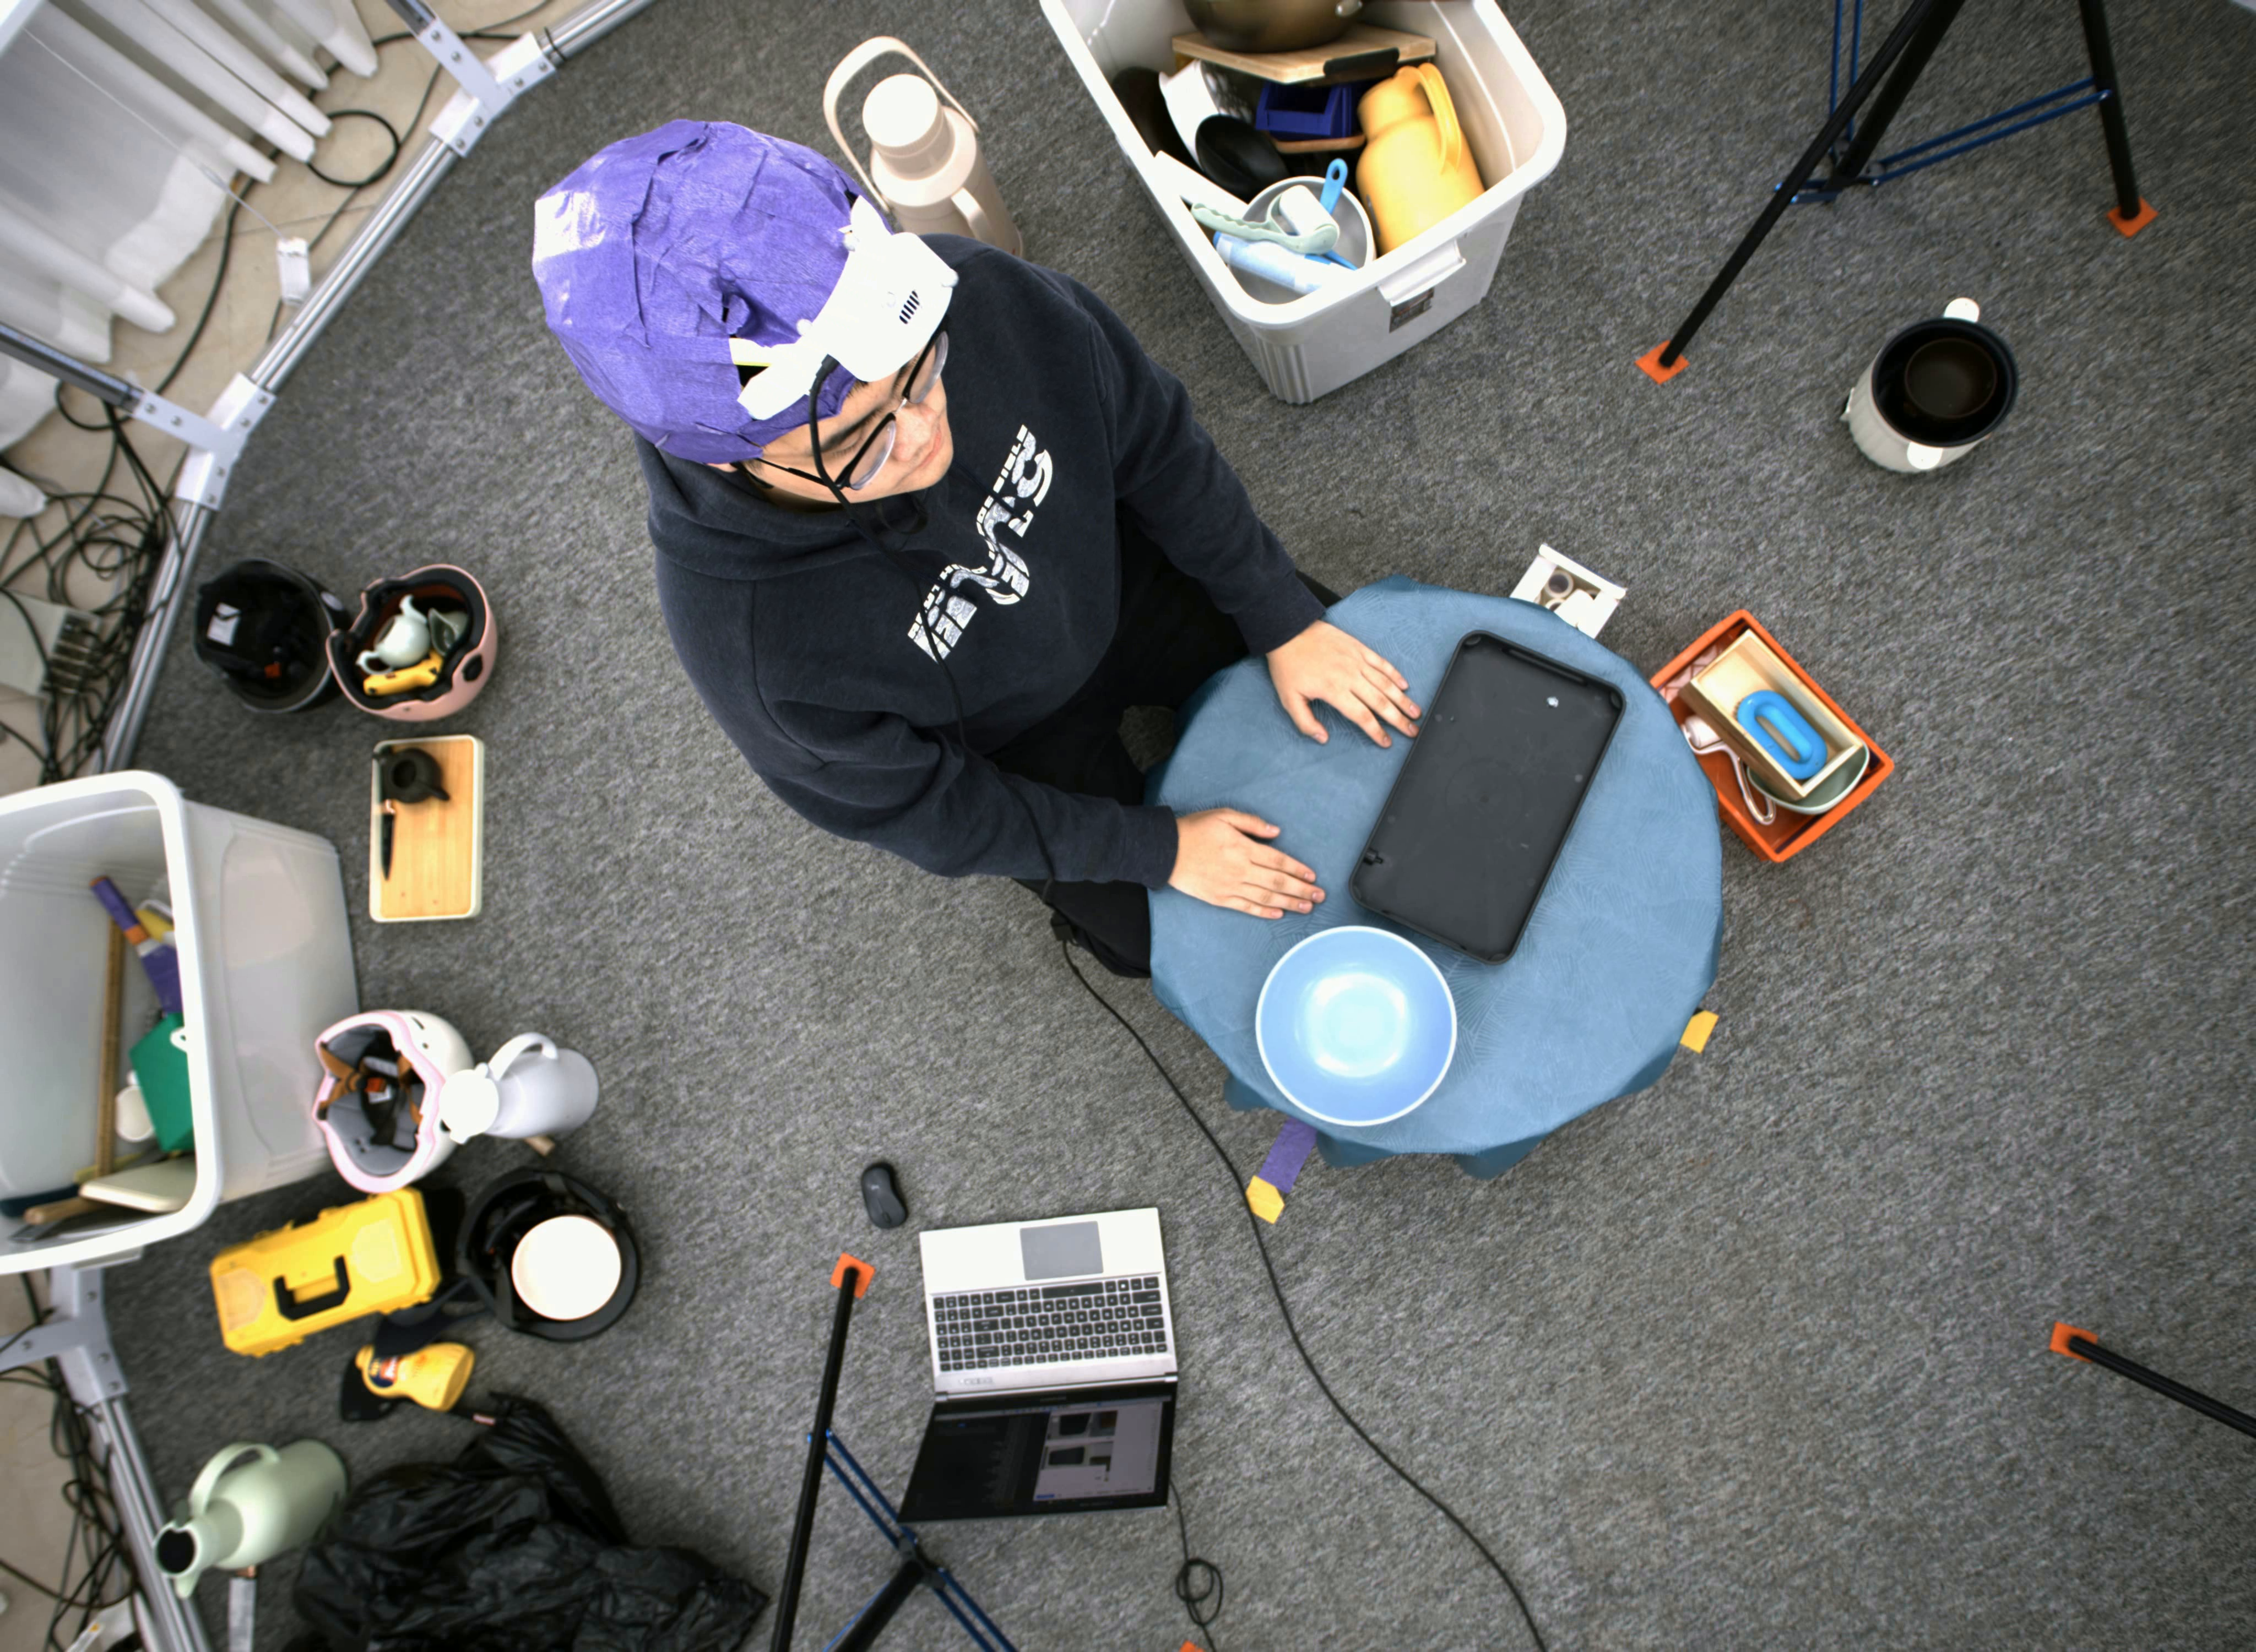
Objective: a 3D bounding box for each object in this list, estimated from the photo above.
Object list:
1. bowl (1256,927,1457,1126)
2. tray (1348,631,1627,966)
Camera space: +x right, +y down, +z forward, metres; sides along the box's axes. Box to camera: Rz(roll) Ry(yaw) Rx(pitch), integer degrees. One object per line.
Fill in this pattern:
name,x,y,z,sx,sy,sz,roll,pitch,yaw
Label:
bowl,0.232,0.200,1.410,0.197,0.095,0.196,-1,88,11
tray,0.372,-0.031,1.428,0.184,0.037,0.318,25,91,12
